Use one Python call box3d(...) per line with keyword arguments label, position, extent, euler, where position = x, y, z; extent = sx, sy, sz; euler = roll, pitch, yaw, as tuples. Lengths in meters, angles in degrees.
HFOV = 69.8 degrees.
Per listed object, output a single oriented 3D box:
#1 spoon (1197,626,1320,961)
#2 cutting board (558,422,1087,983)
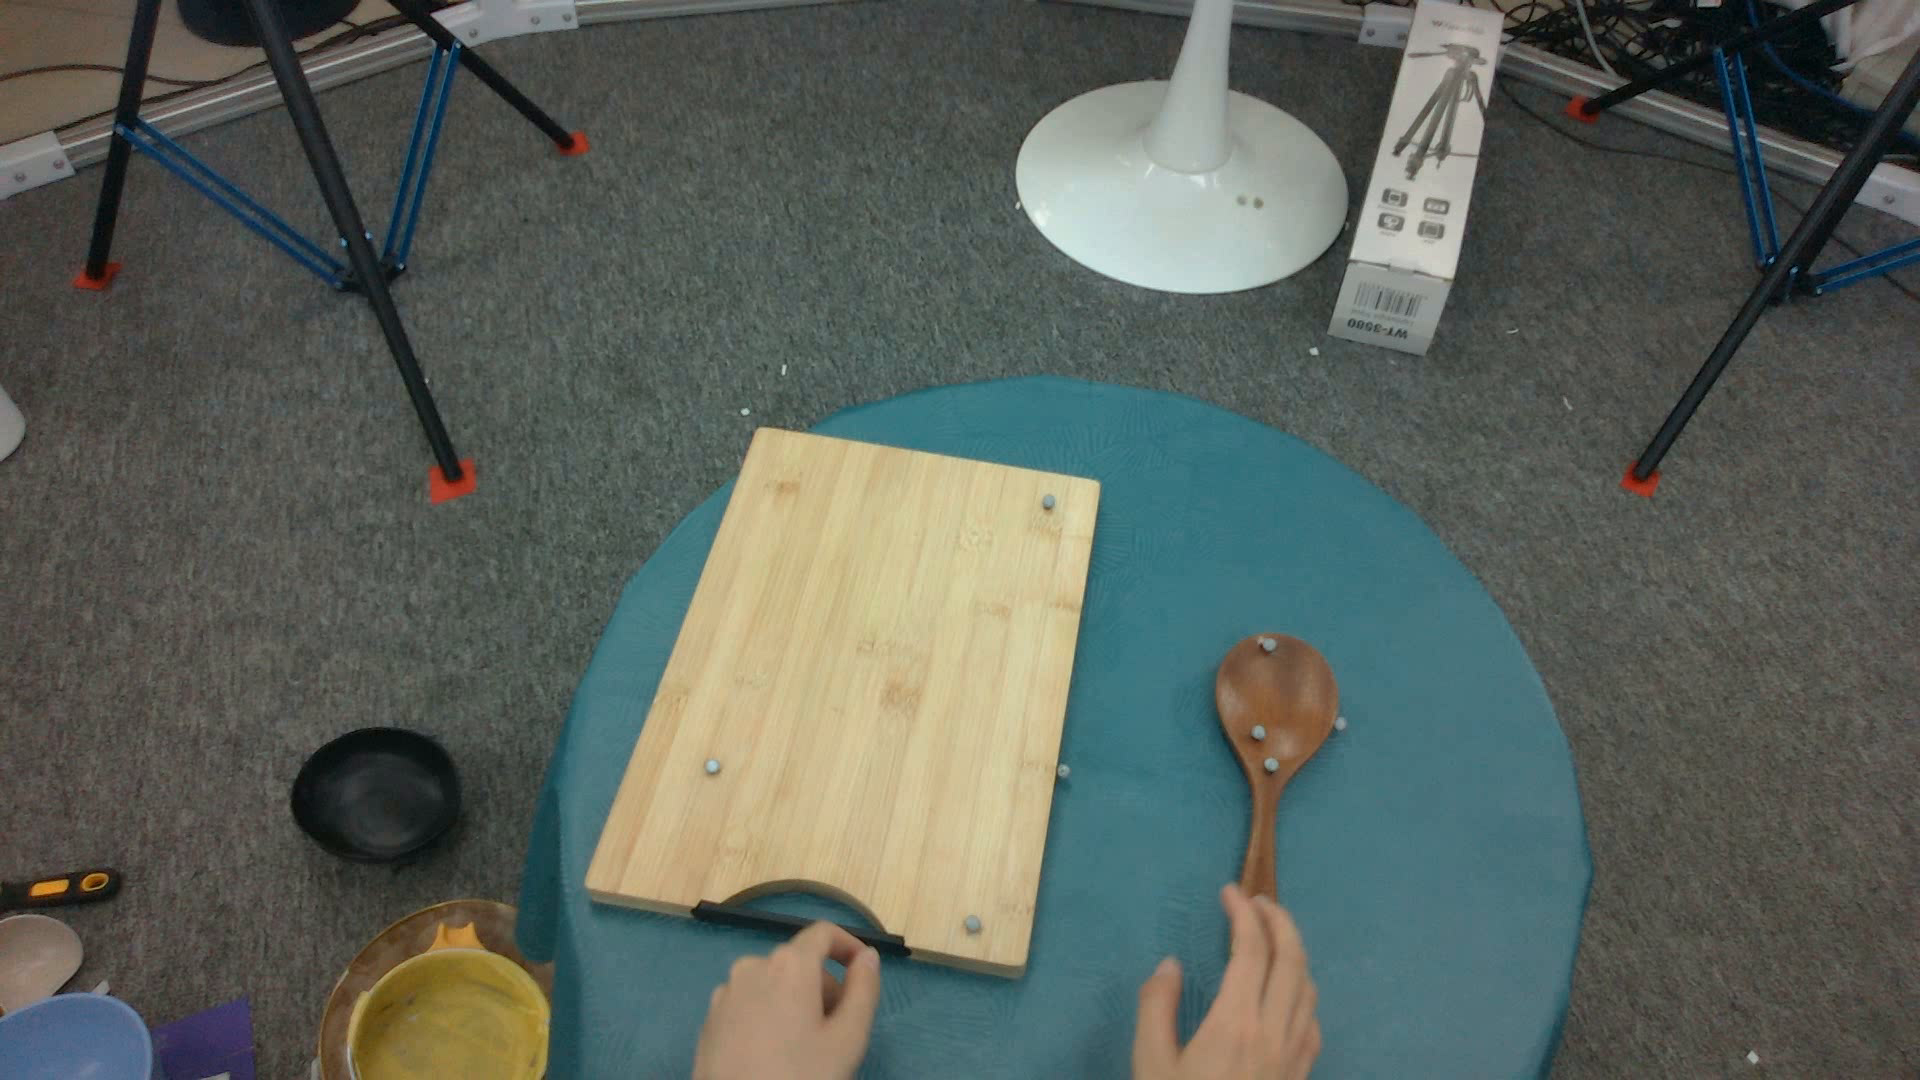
box3d(label="spoon", position=(0.168, 0.140, 0.796), extent=(0.075, 0.017, 0.217), euler=(12, 51, 4))
box3d(label="cutting board", position=(-0.064, 0.077, 0.832), extent=(0.250, 0.023, 0.350), euler=(8, 52, 4))
